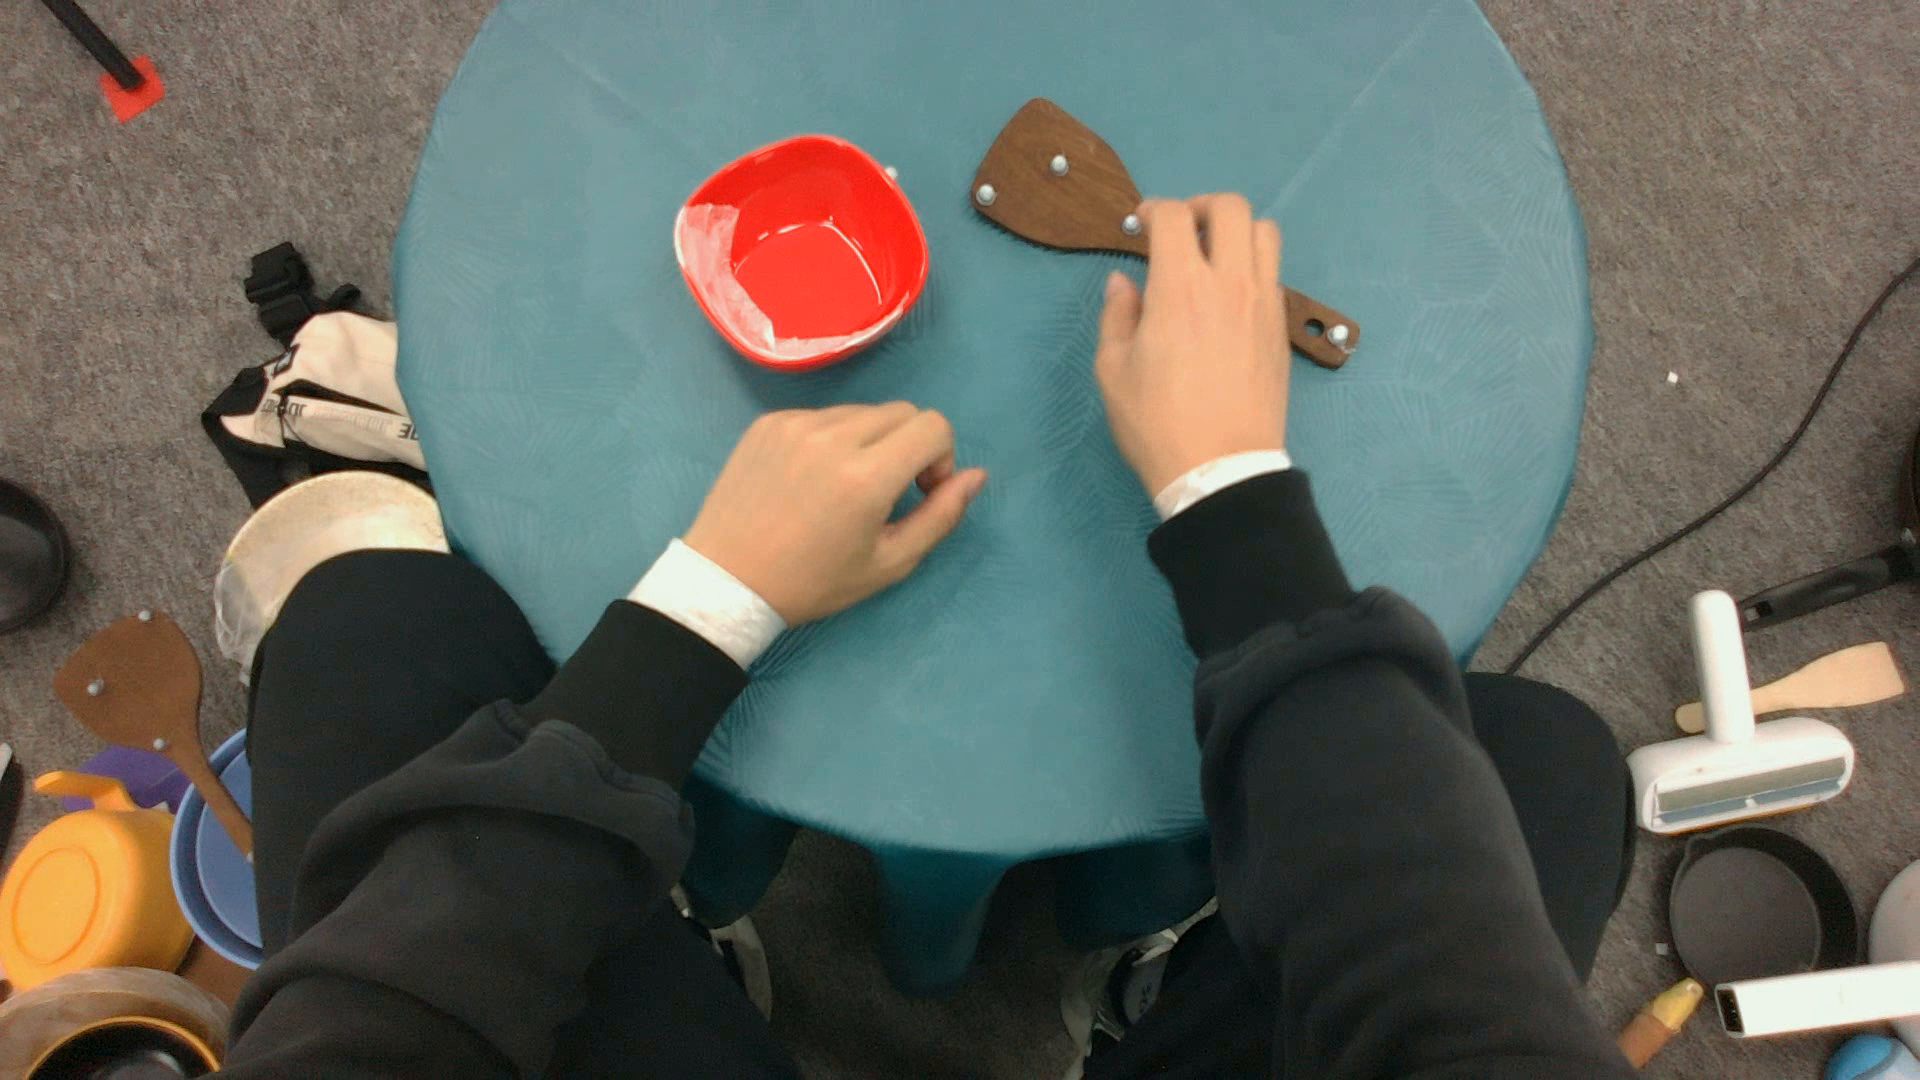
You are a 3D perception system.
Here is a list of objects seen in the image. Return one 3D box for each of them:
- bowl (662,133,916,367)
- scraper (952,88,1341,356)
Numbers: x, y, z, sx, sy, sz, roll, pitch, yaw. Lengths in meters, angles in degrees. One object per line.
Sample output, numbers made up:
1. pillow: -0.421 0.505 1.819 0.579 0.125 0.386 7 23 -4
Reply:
1. bowl: -0.082 -0.131 0.665 0.119 0.051 0.119 2 73 -7
2. scraper: 0.097 -0.154 0.699 0.211 0.011 0.076 31 75 6
